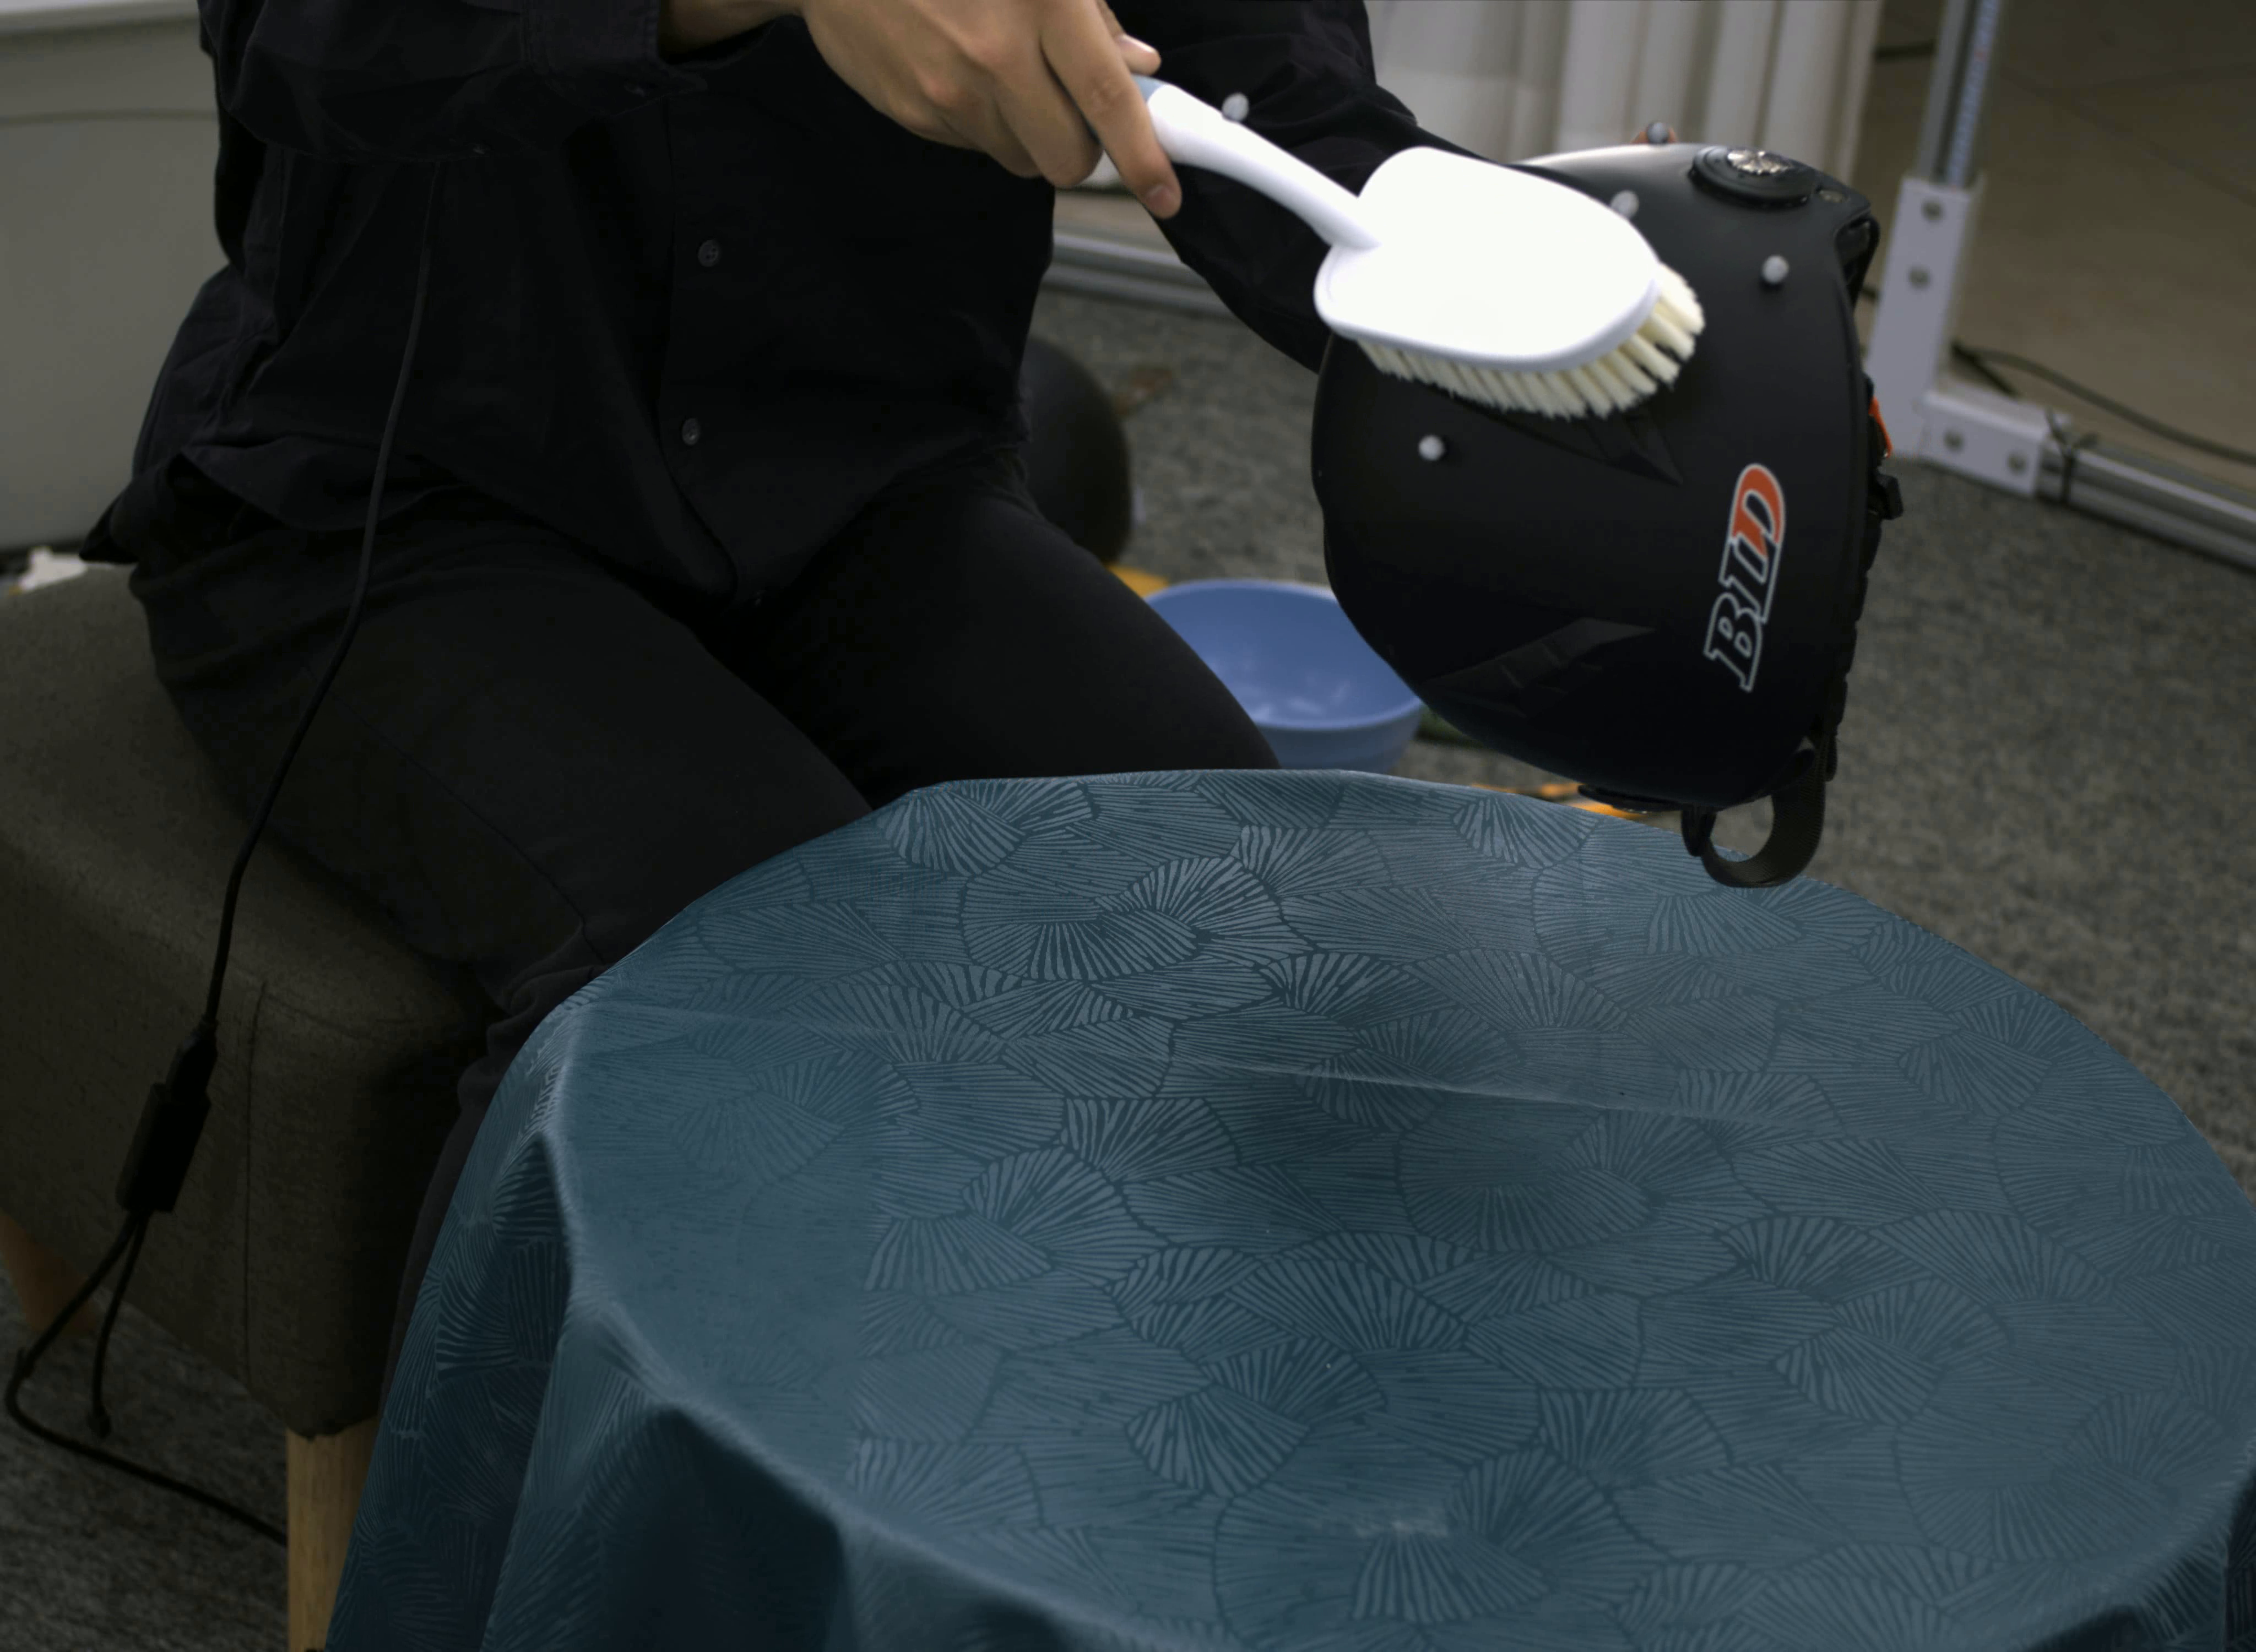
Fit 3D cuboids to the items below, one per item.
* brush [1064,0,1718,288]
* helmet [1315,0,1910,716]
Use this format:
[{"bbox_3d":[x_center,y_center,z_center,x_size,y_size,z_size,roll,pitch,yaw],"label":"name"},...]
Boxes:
[{"bbox_3d":[0.055,-0.251,1.768,0.327,0.084,0.083,24,44,28],"label":"brush"},{"bbox_3d":[0.158,-0.166,1.827,0.171,0.246,0.278,4,19,-14],"label":"helmet"}]
